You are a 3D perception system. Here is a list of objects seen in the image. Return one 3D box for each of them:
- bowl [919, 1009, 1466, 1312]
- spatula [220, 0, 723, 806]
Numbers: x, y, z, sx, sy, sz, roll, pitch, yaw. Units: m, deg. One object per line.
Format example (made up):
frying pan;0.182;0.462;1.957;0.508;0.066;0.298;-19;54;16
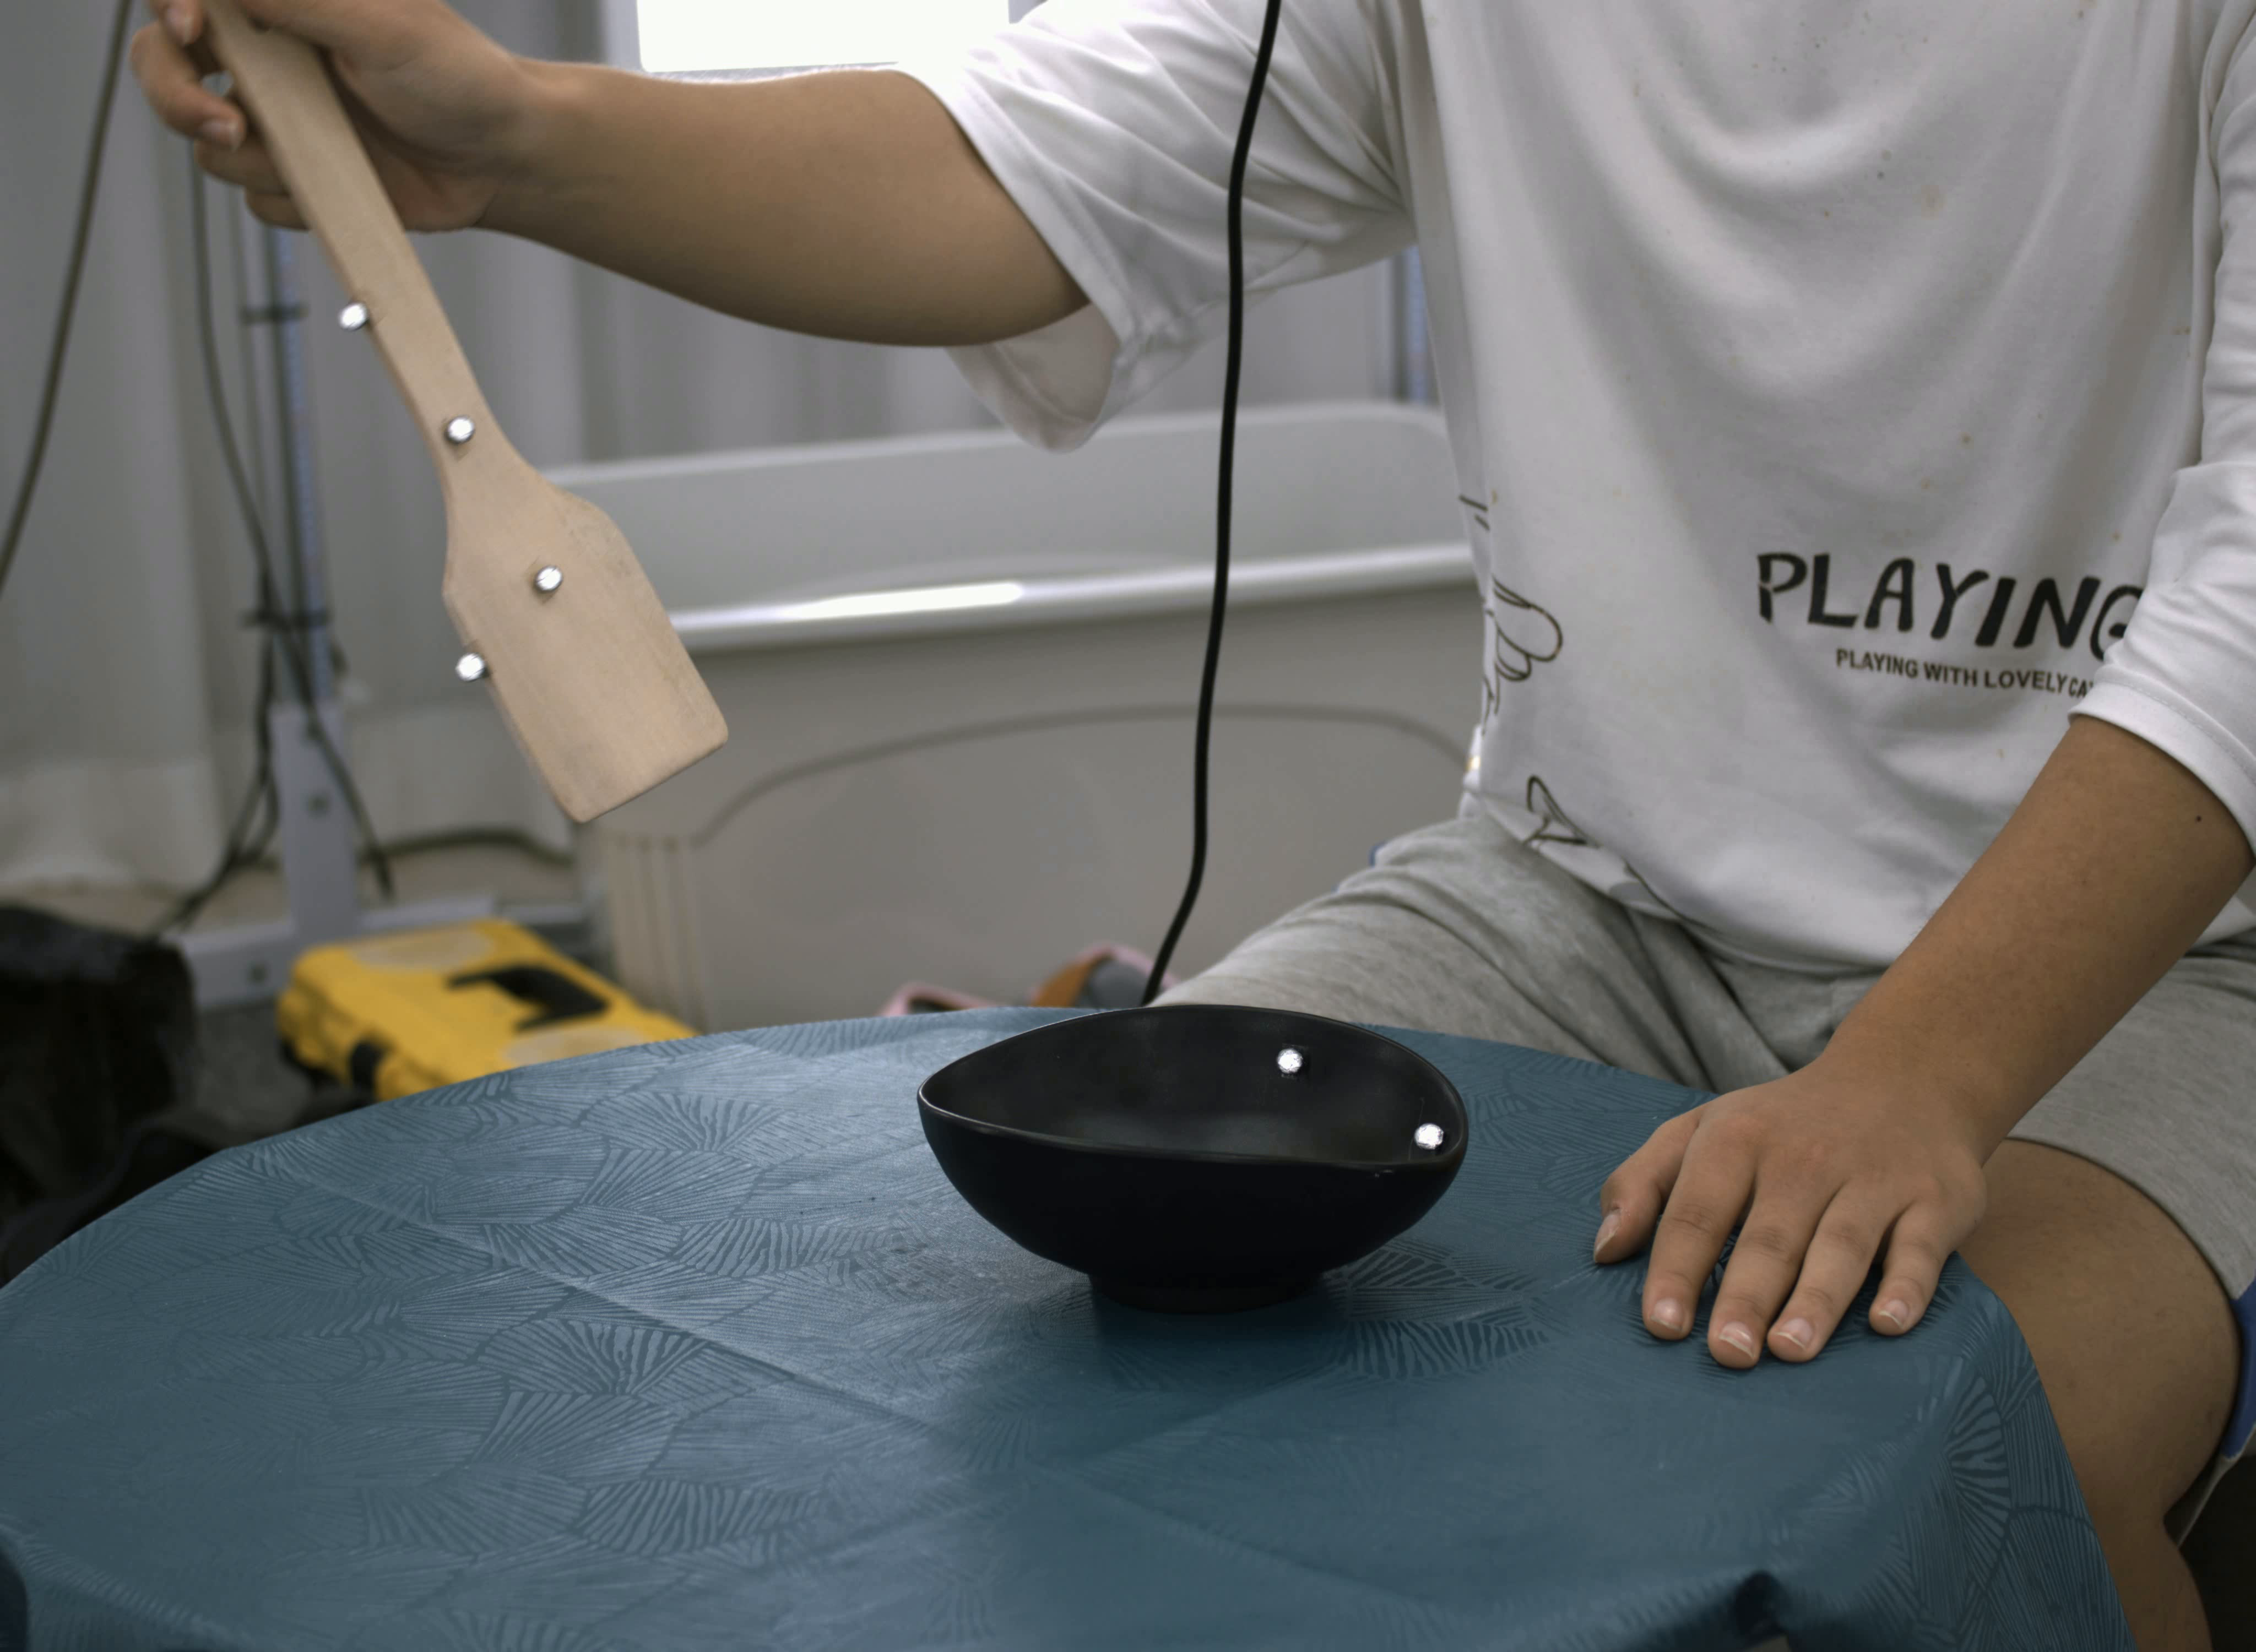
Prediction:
bowl;0.020;0.104;1.632;0.170;0.066;0.137;5;16;21
spatula;-0.215;-0.147;1.711;0.072;0.292;0.010;-32;9;-40
